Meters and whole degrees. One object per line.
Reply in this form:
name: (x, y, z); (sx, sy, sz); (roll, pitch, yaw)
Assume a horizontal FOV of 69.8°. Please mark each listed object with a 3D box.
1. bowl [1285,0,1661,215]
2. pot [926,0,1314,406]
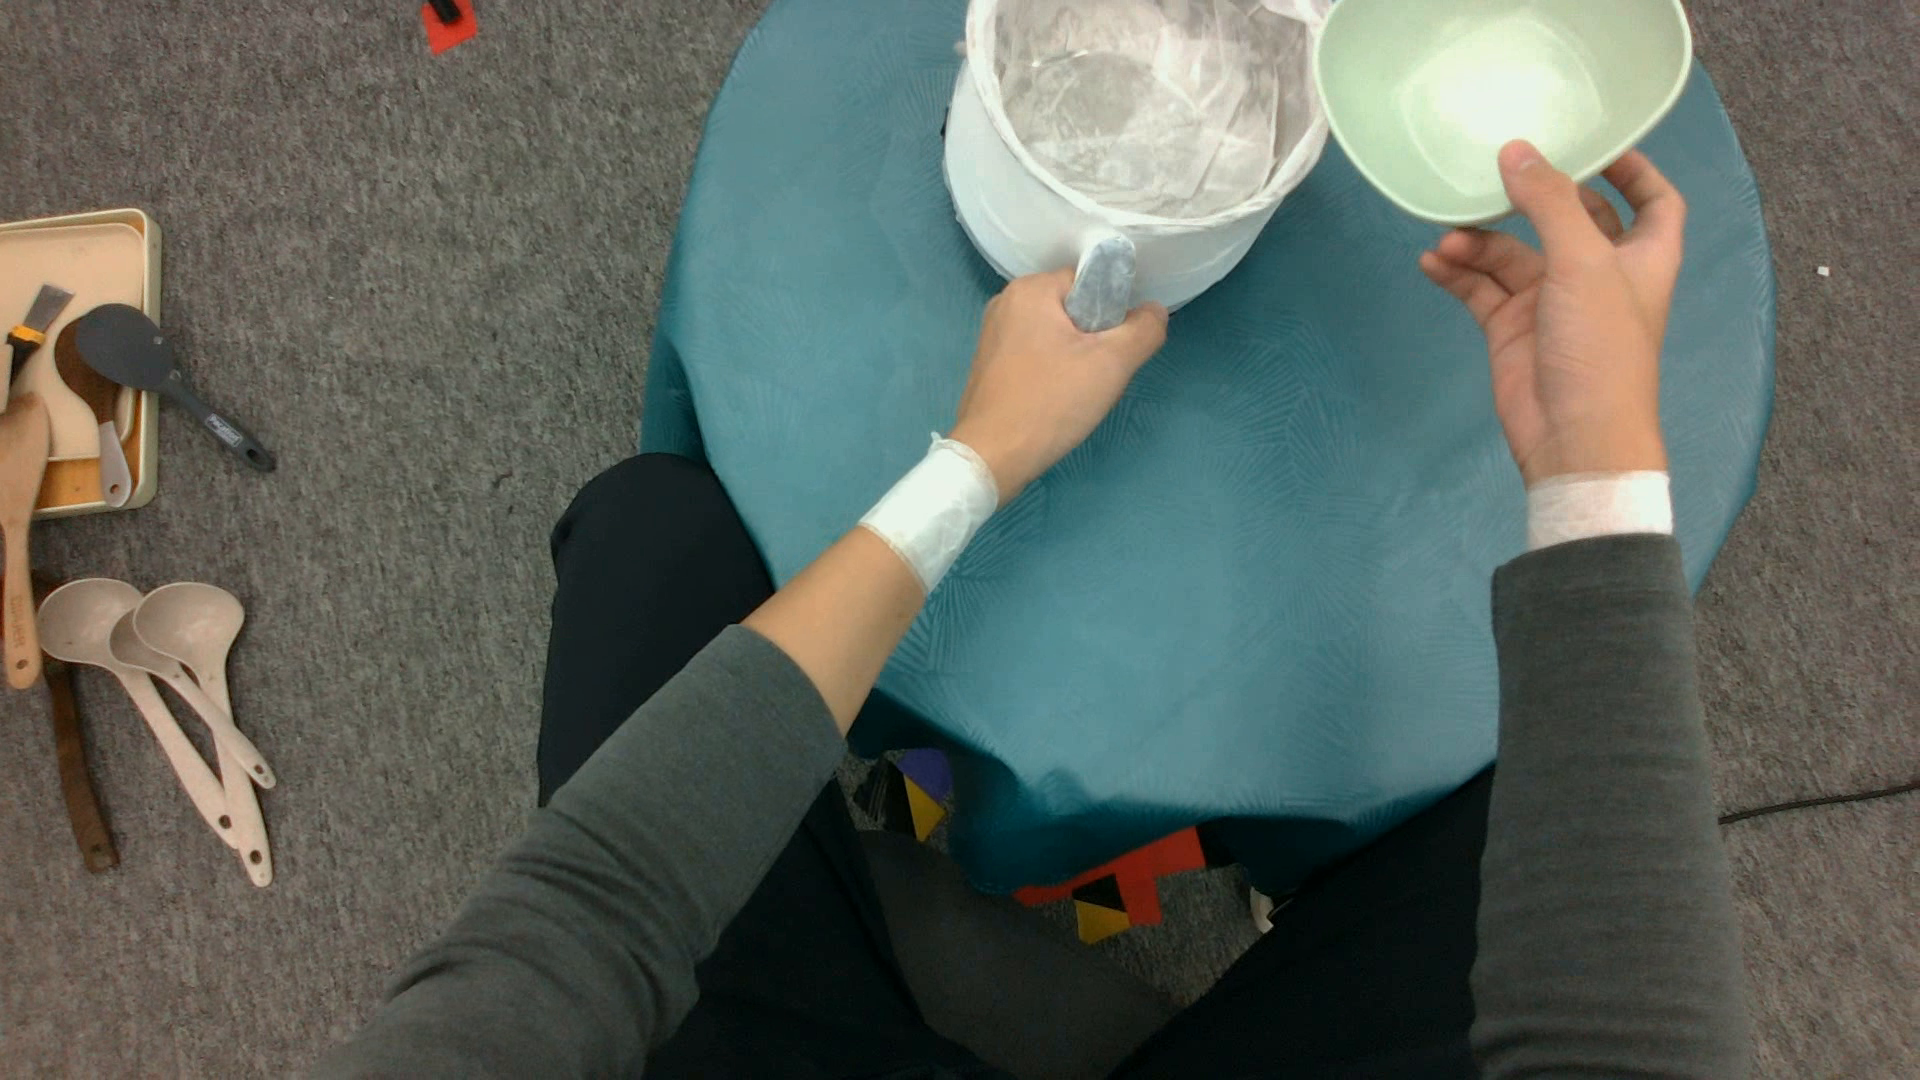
bowl: (0.220, -0.203, 0.597); (0.151, 0.058, 0.151); (-5, 77, 24)
pot: (0.072, -0.188, 0.687); (0.179, 0.136, 0.234); (12, 76, -5)
